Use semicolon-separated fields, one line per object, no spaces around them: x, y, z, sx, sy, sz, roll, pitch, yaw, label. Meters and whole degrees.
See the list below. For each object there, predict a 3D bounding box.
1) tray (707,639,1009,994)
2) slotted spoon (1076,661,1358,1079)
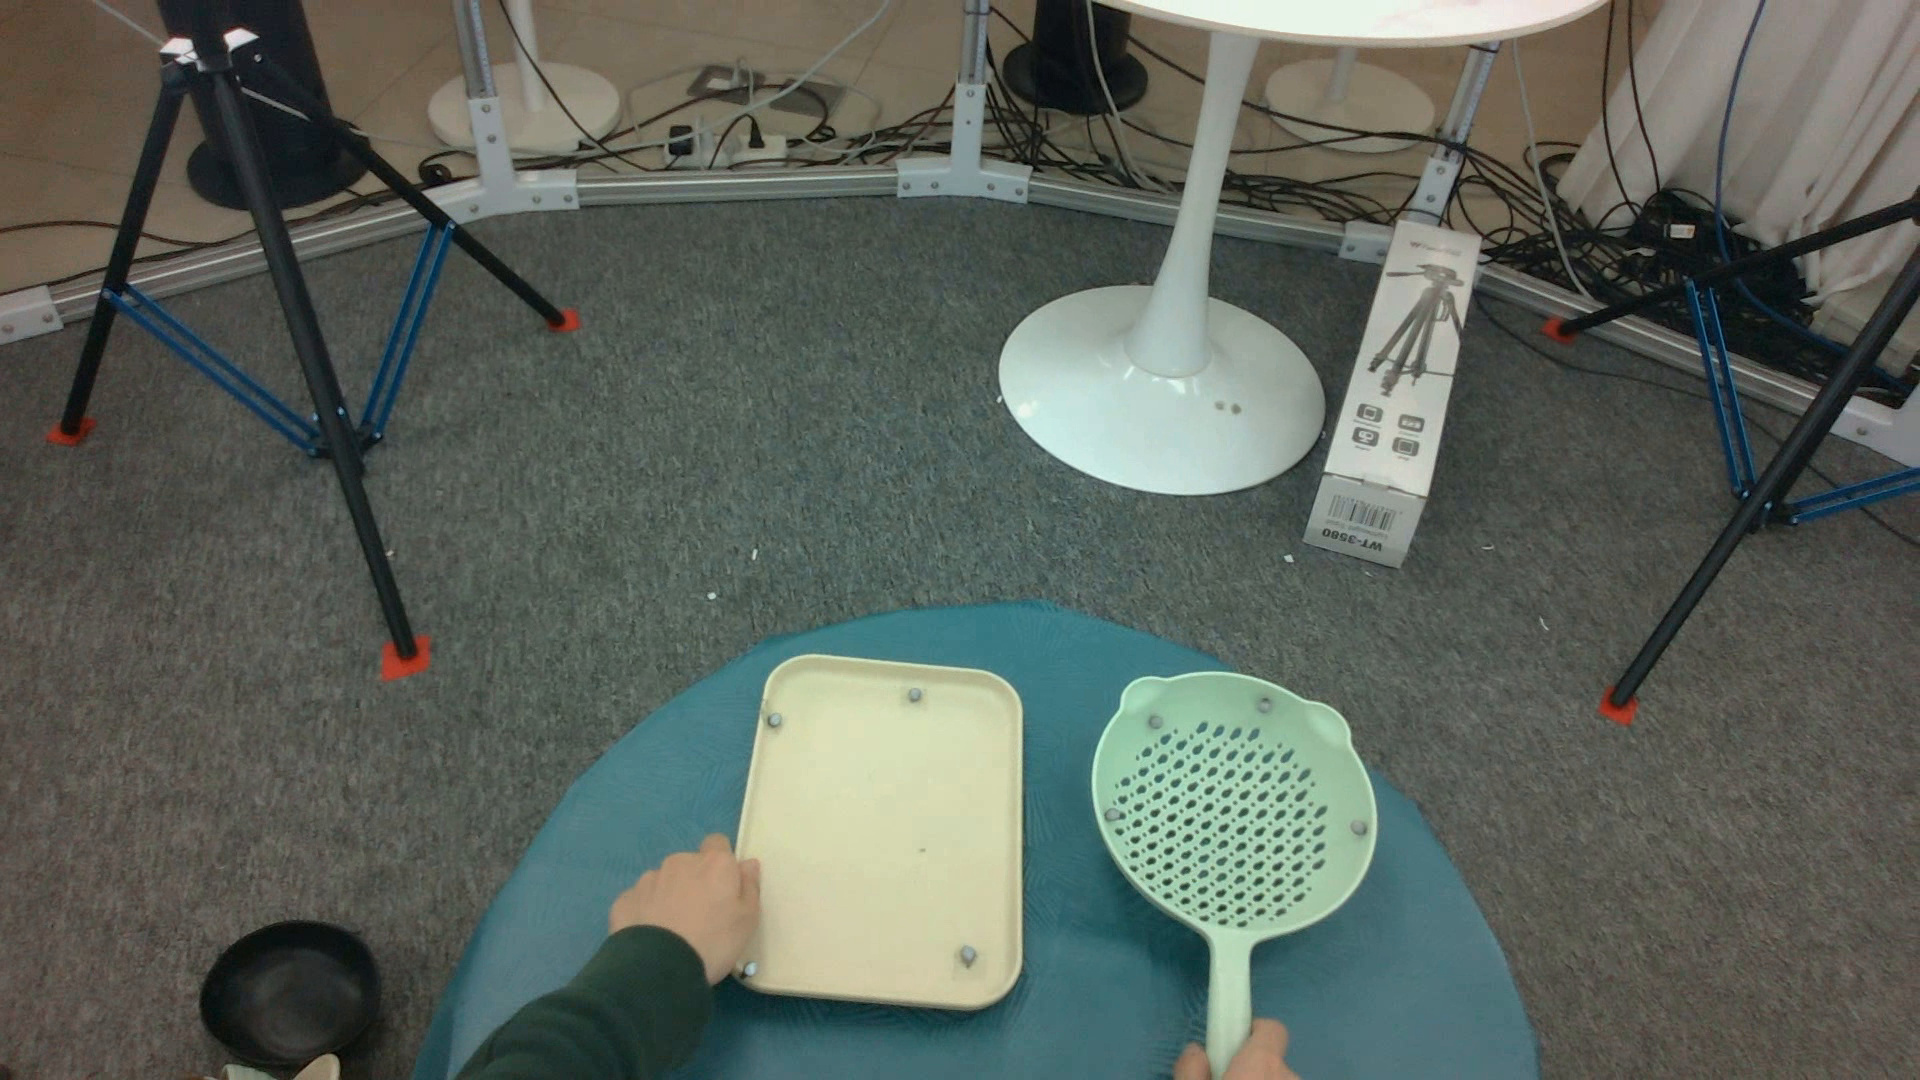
-0.056;0.161;0.837;0.171;0.017;0.241;6;45;-5;tray
0.138;0.228;0.767;0.169;0.075;0.360;8;45;2;slotted spoon
